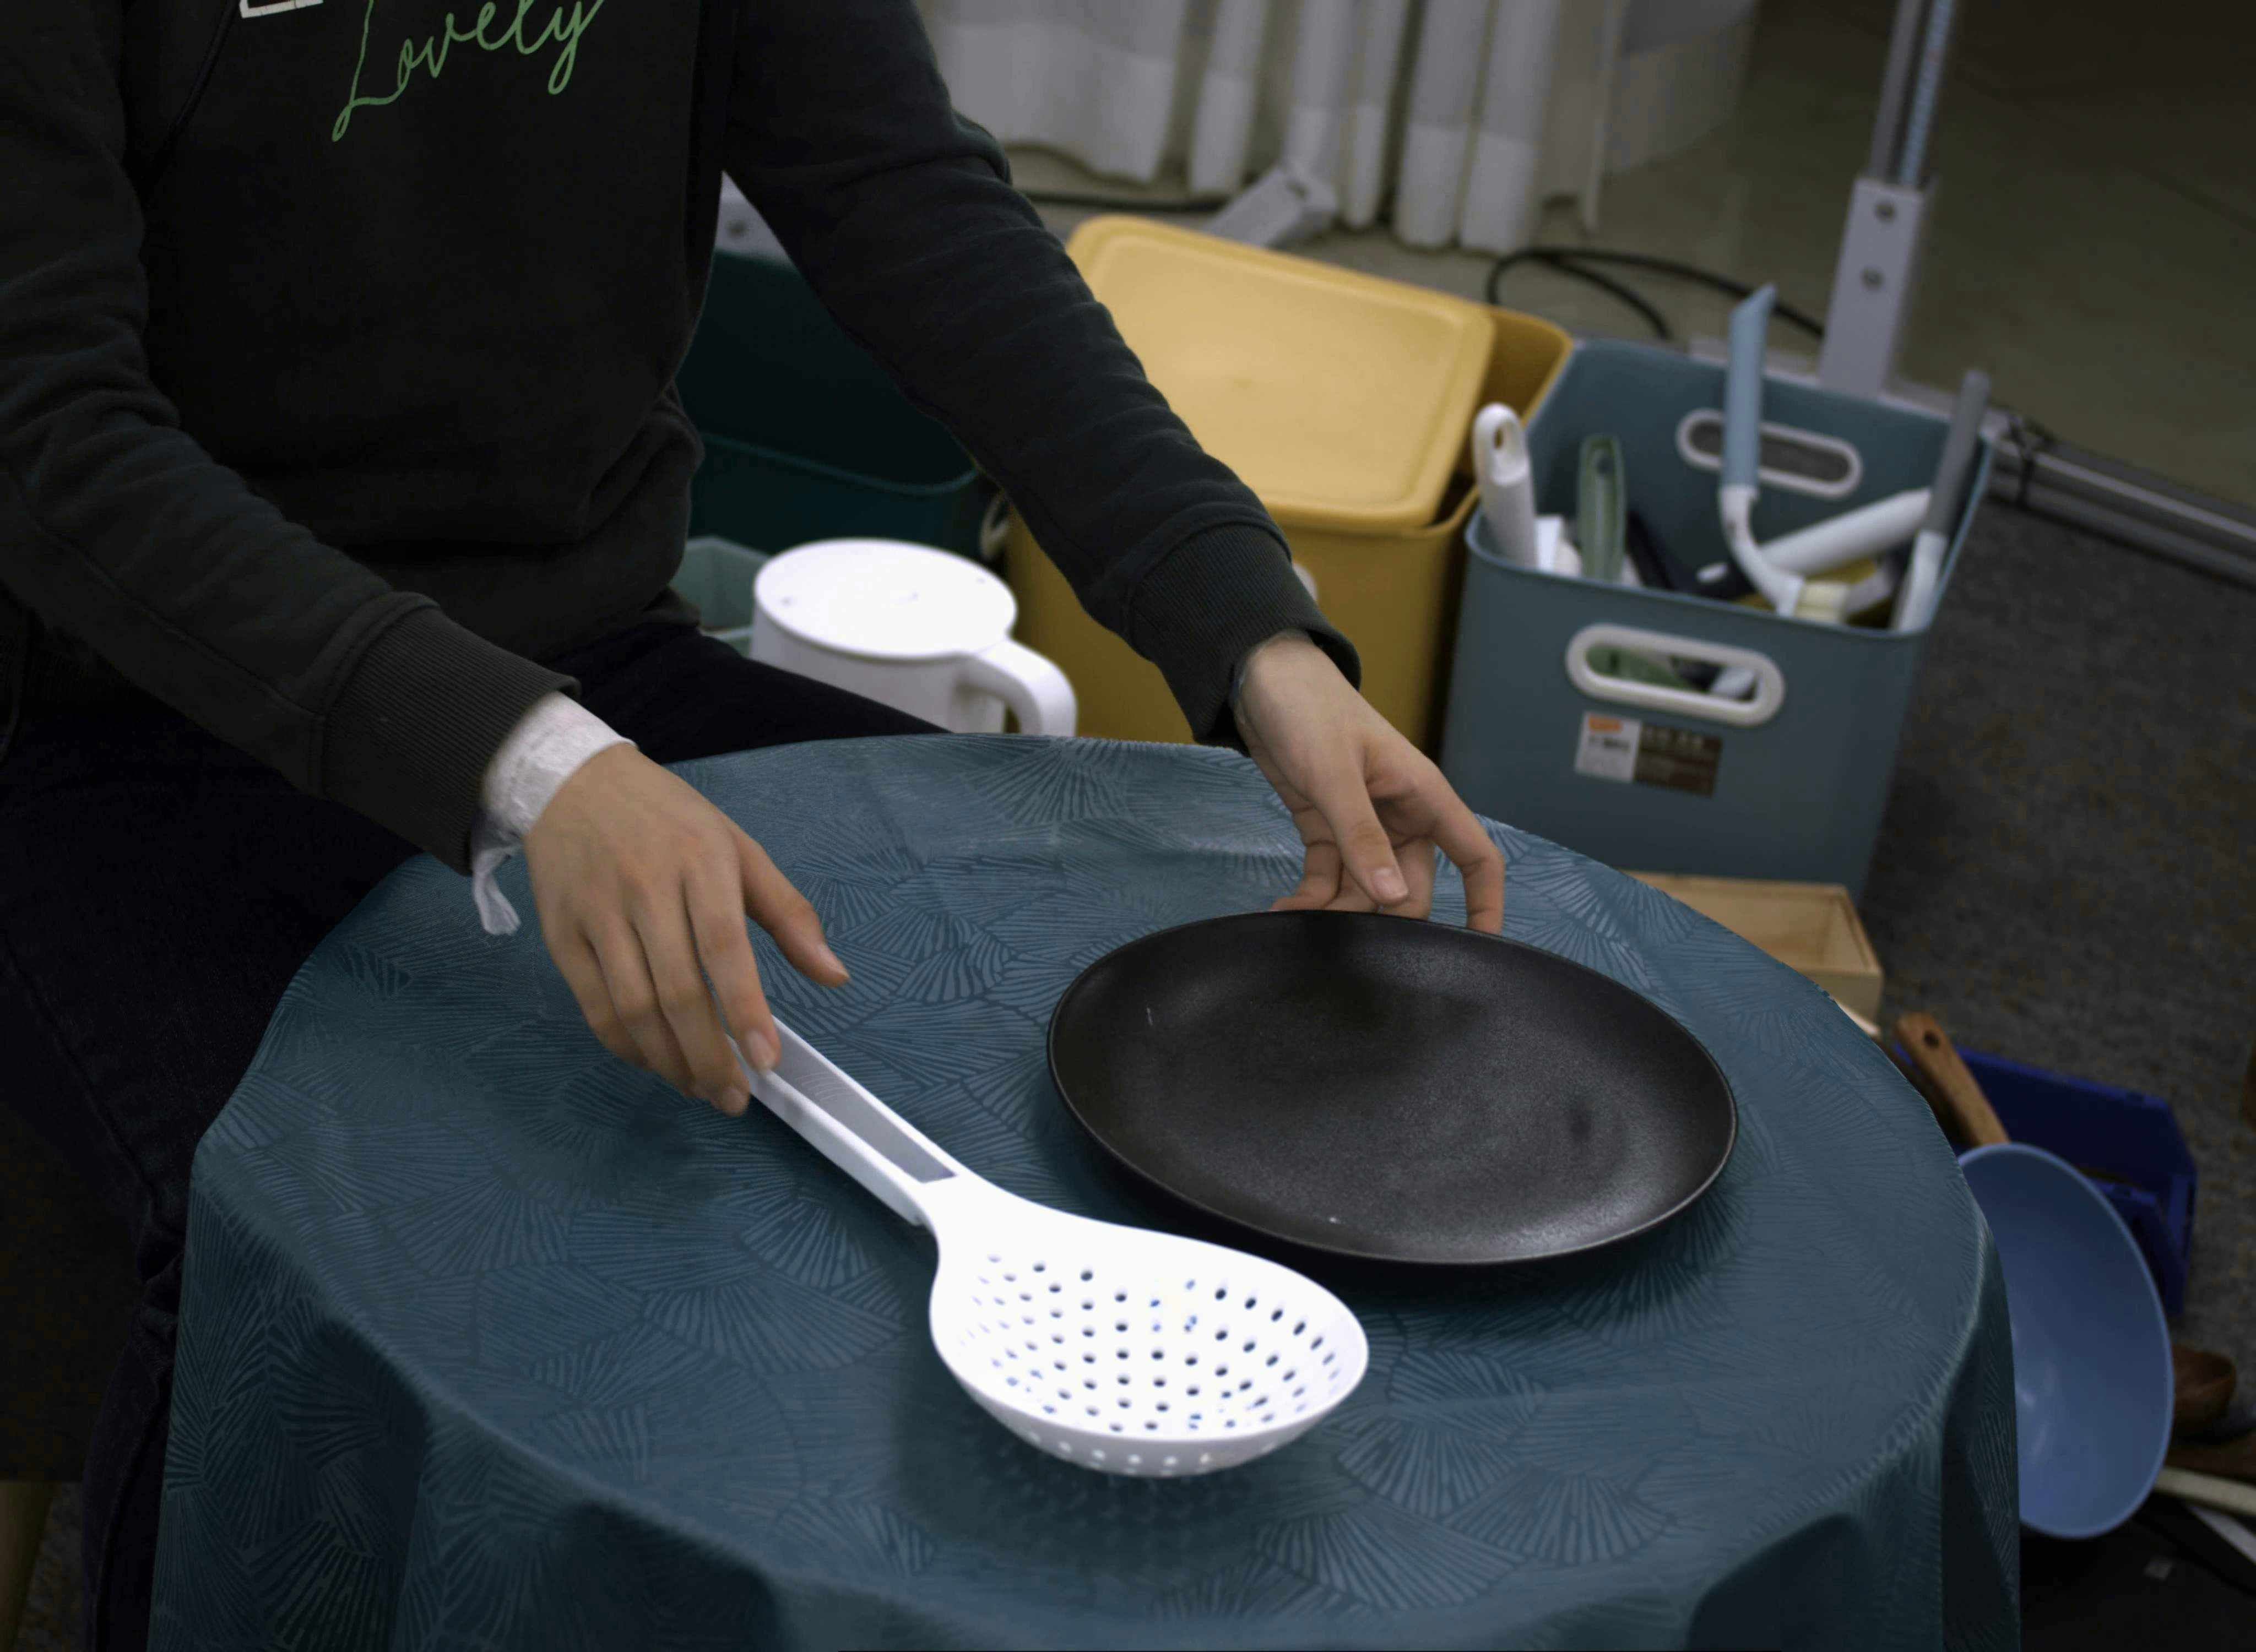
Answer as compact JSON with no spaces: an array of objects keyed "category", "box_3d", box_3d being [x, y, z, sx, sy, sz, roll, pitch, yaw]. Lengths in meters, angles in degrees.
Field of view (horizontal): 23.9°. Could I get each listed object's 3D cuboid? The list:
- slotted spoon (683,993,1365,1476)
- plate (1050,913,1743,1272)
[{"category":"slotted spoon","box_3d":[-0.053,0.127,1.732,0.135,0.045,0.353,-9,29,-32]},{"category":"plate","box_3d":[0.092,0.096,1.849,0.243,0.023,0.246,5,27,-3]}]
